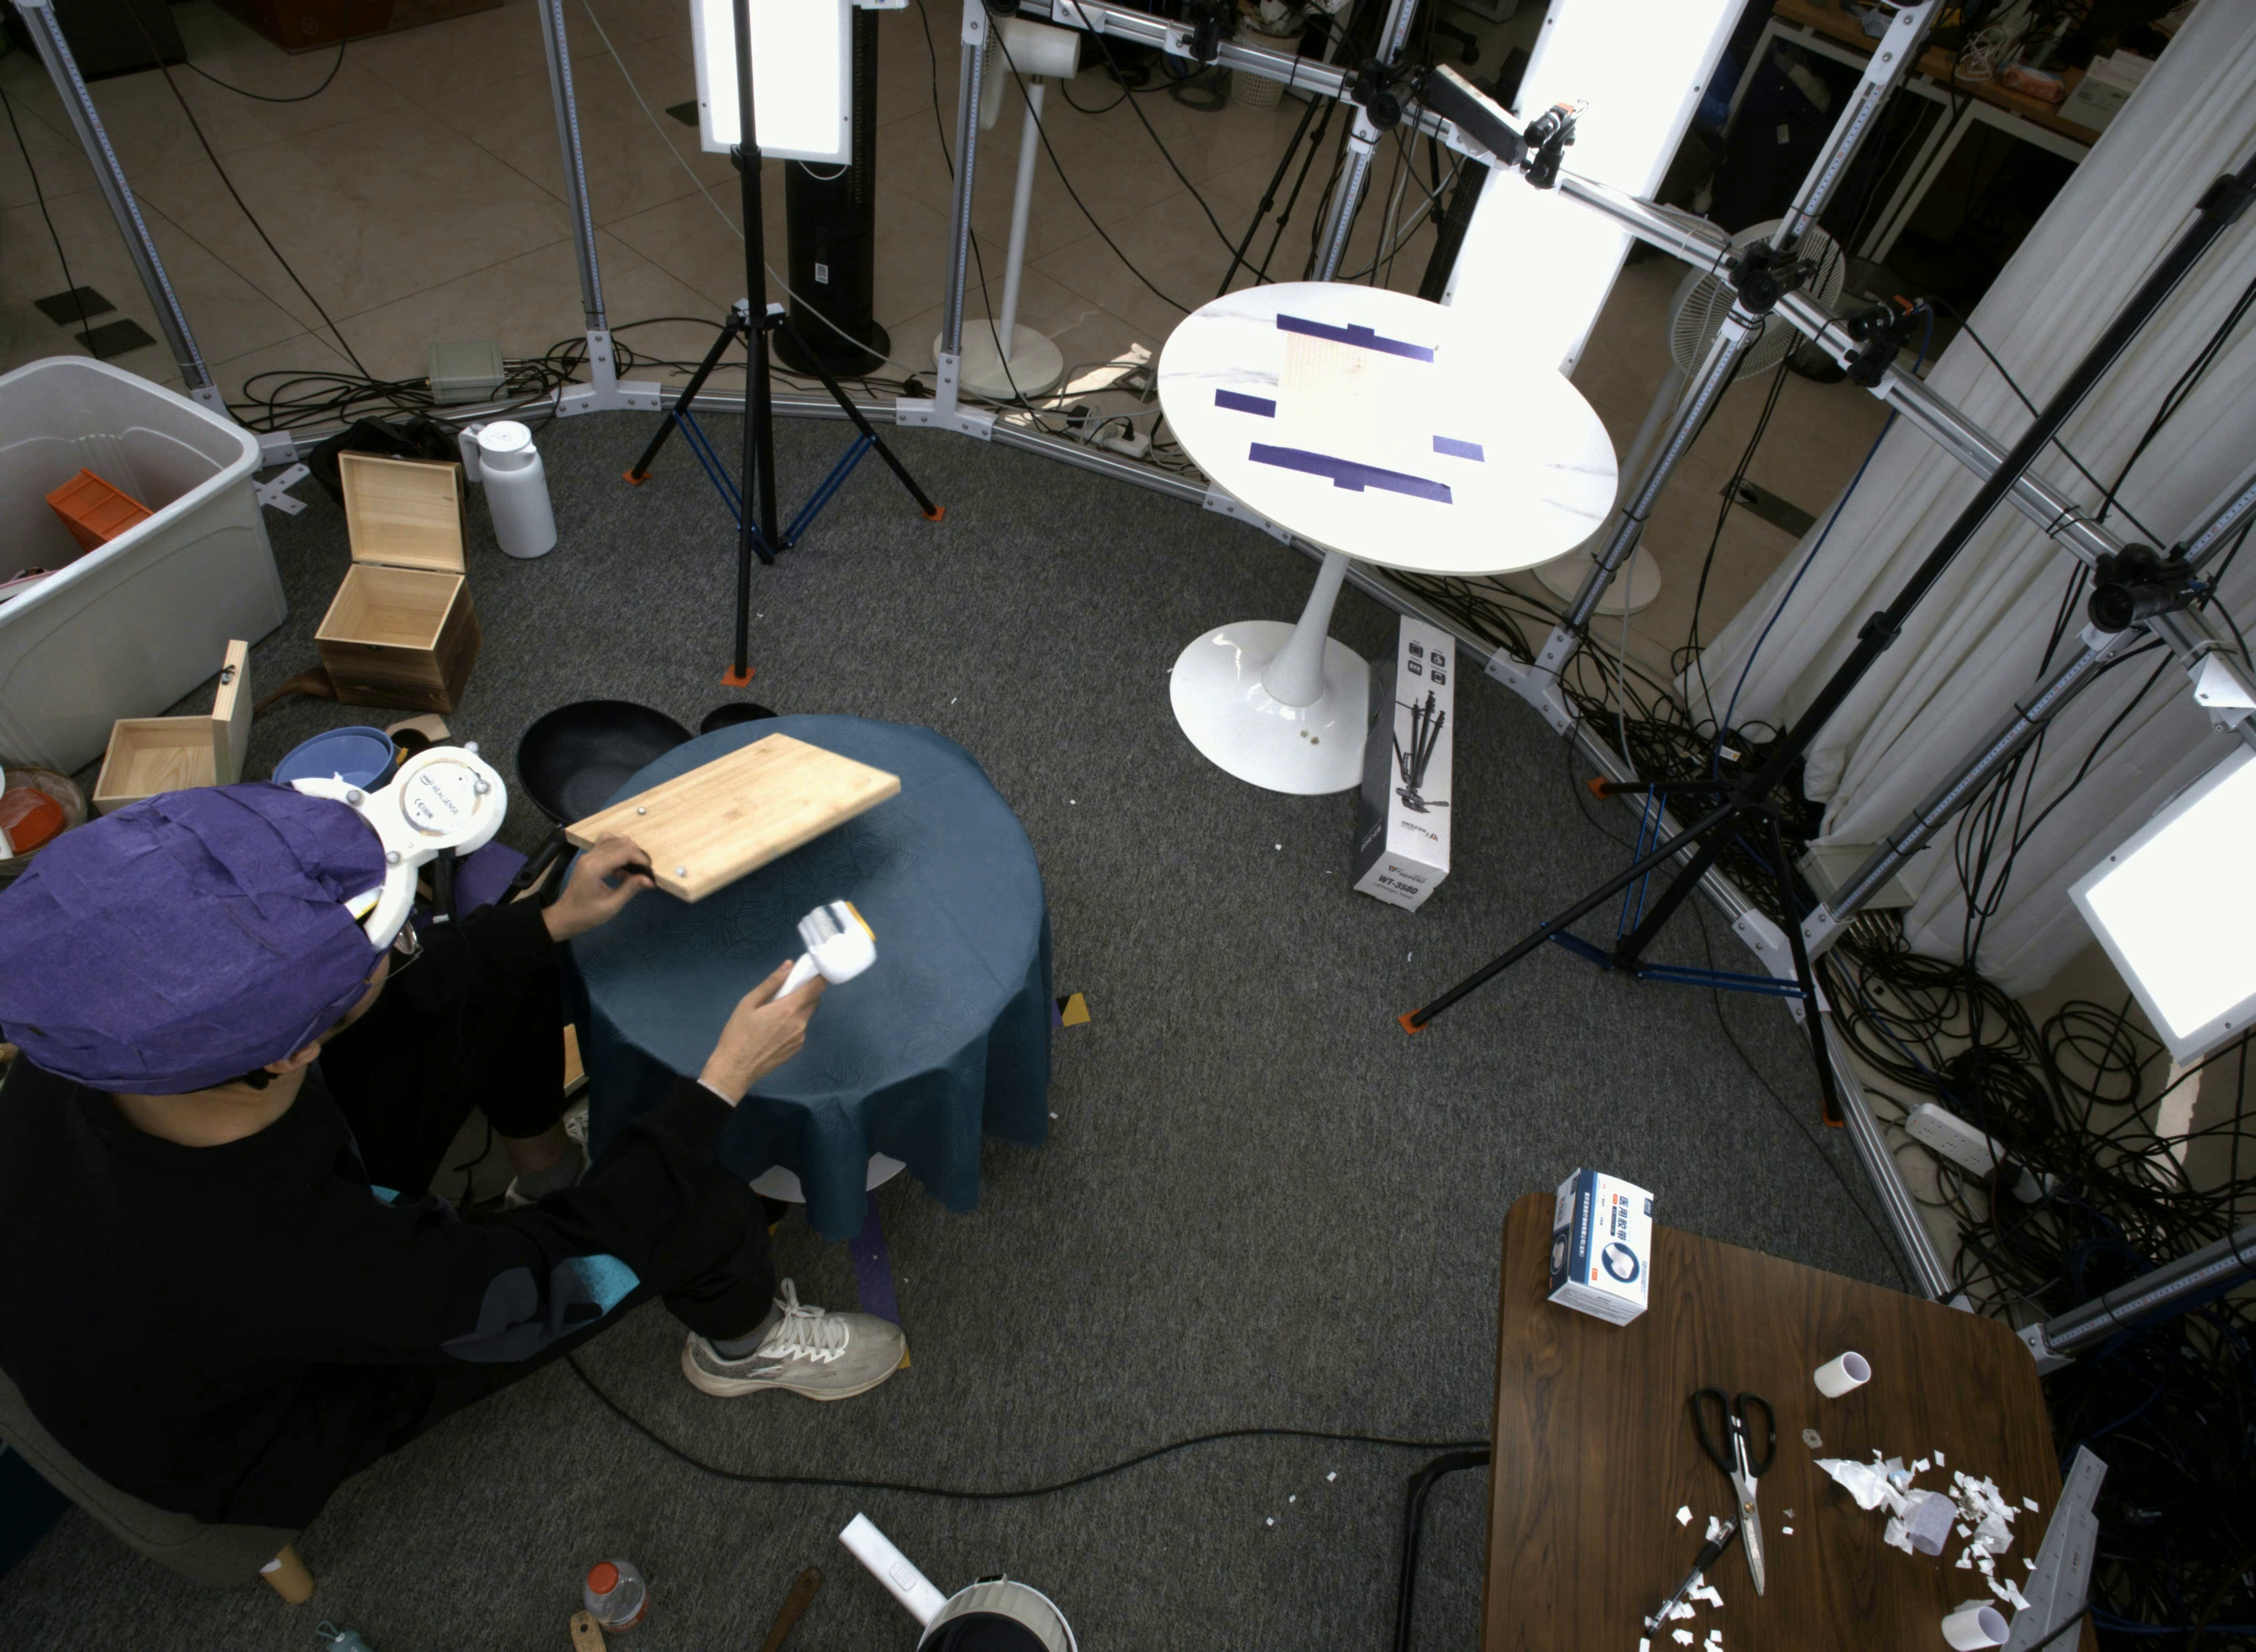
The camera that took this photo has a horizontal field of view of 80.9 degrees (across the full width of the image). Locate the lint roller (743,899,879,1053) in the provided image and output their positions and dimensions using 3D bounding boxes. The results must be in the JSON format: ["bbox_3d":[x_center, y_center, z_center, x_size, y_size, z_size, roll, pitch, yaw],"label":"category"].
[{"bbox_3d":[-0.365,0.169,1.449,0.192,0.187,0.076,-39,113,-7],"label":"lint roller"}]

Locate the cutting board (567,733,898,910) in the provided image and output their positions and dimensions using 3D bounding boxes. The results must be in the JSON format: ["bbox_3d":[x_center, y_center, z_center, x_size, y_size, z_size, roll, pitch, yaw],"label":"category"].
[{"bbox_3d":[-0.493,-0.018,1.617,0.242,0.024,0.350,21,34,28],"label":"cutting board"}]
